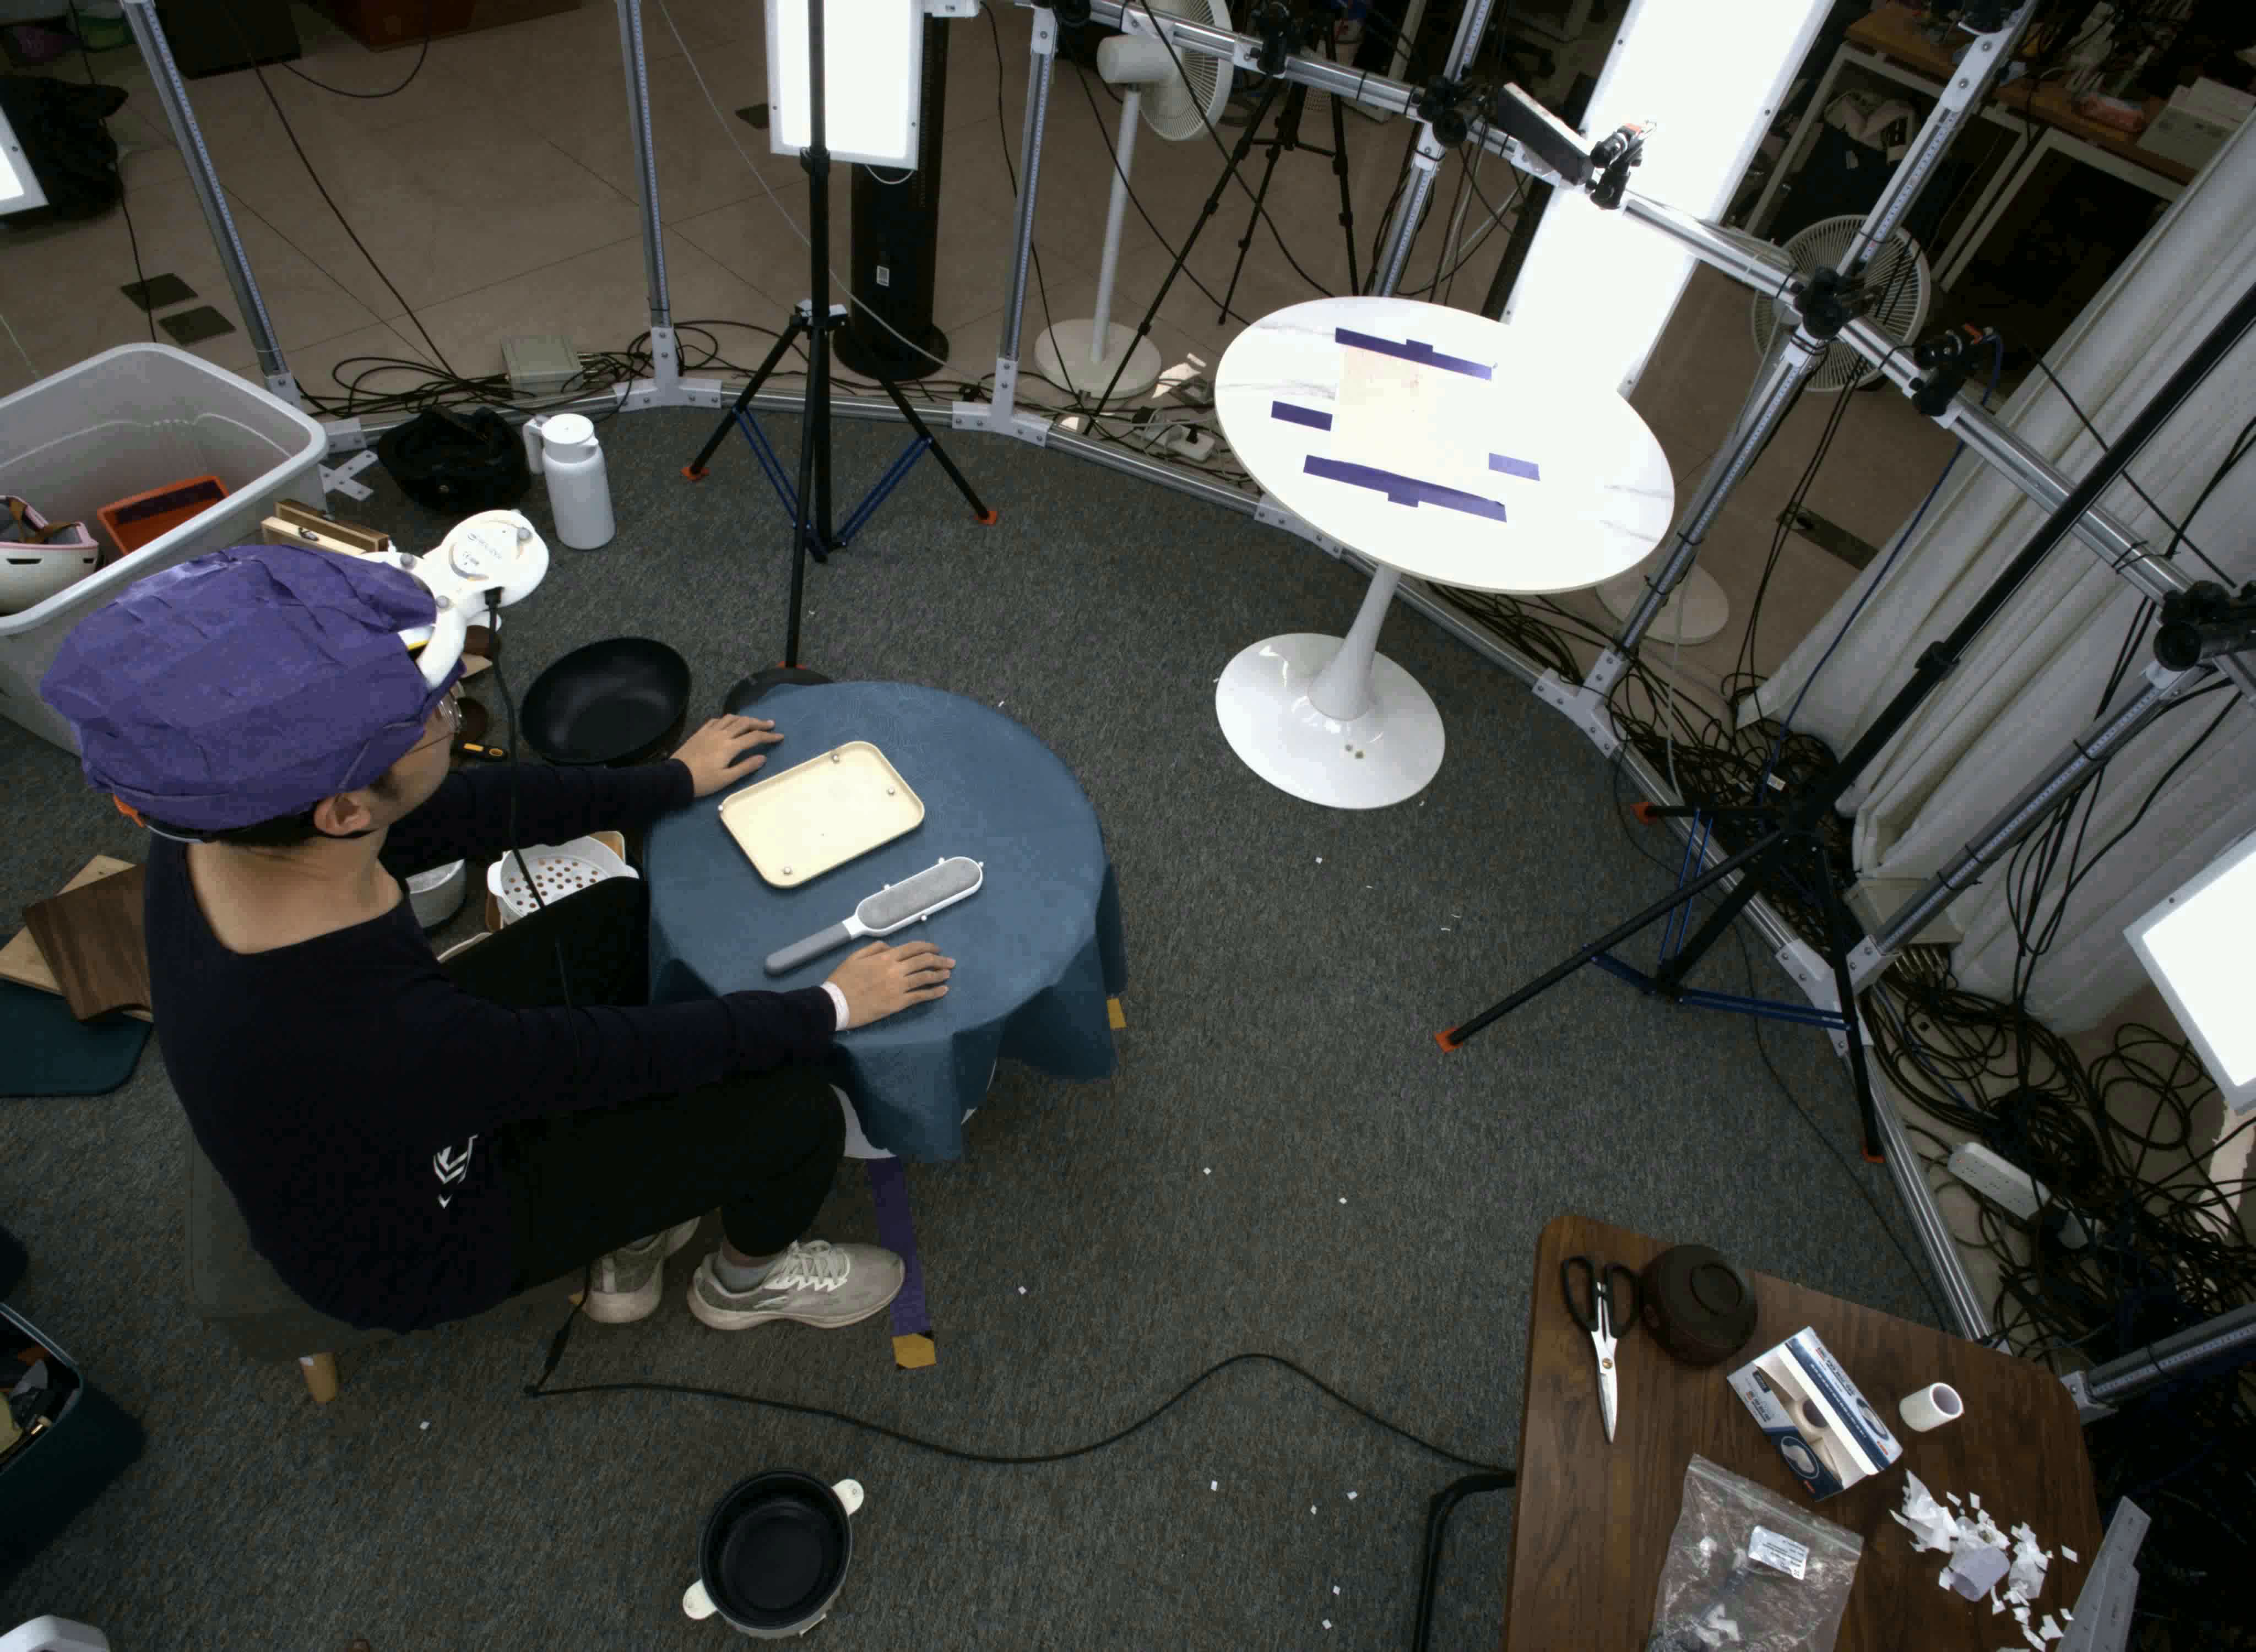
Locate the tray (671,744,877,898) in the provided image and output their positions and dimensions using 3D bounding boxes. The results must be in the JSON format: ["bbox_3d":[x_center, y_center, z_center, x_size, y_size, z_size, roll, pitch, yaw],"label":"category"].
[{"bbox_3d":[-0.468,-0.010,1.720,0.240,0.018,0.167,-32,68,-31],"label":"tray"}]

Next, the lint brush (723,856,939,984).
[{"bbox_3d":[-0.373,0.116,1.645,0.310,0.021,0.059,-29,70,-30],"label":"lint brush"}]
